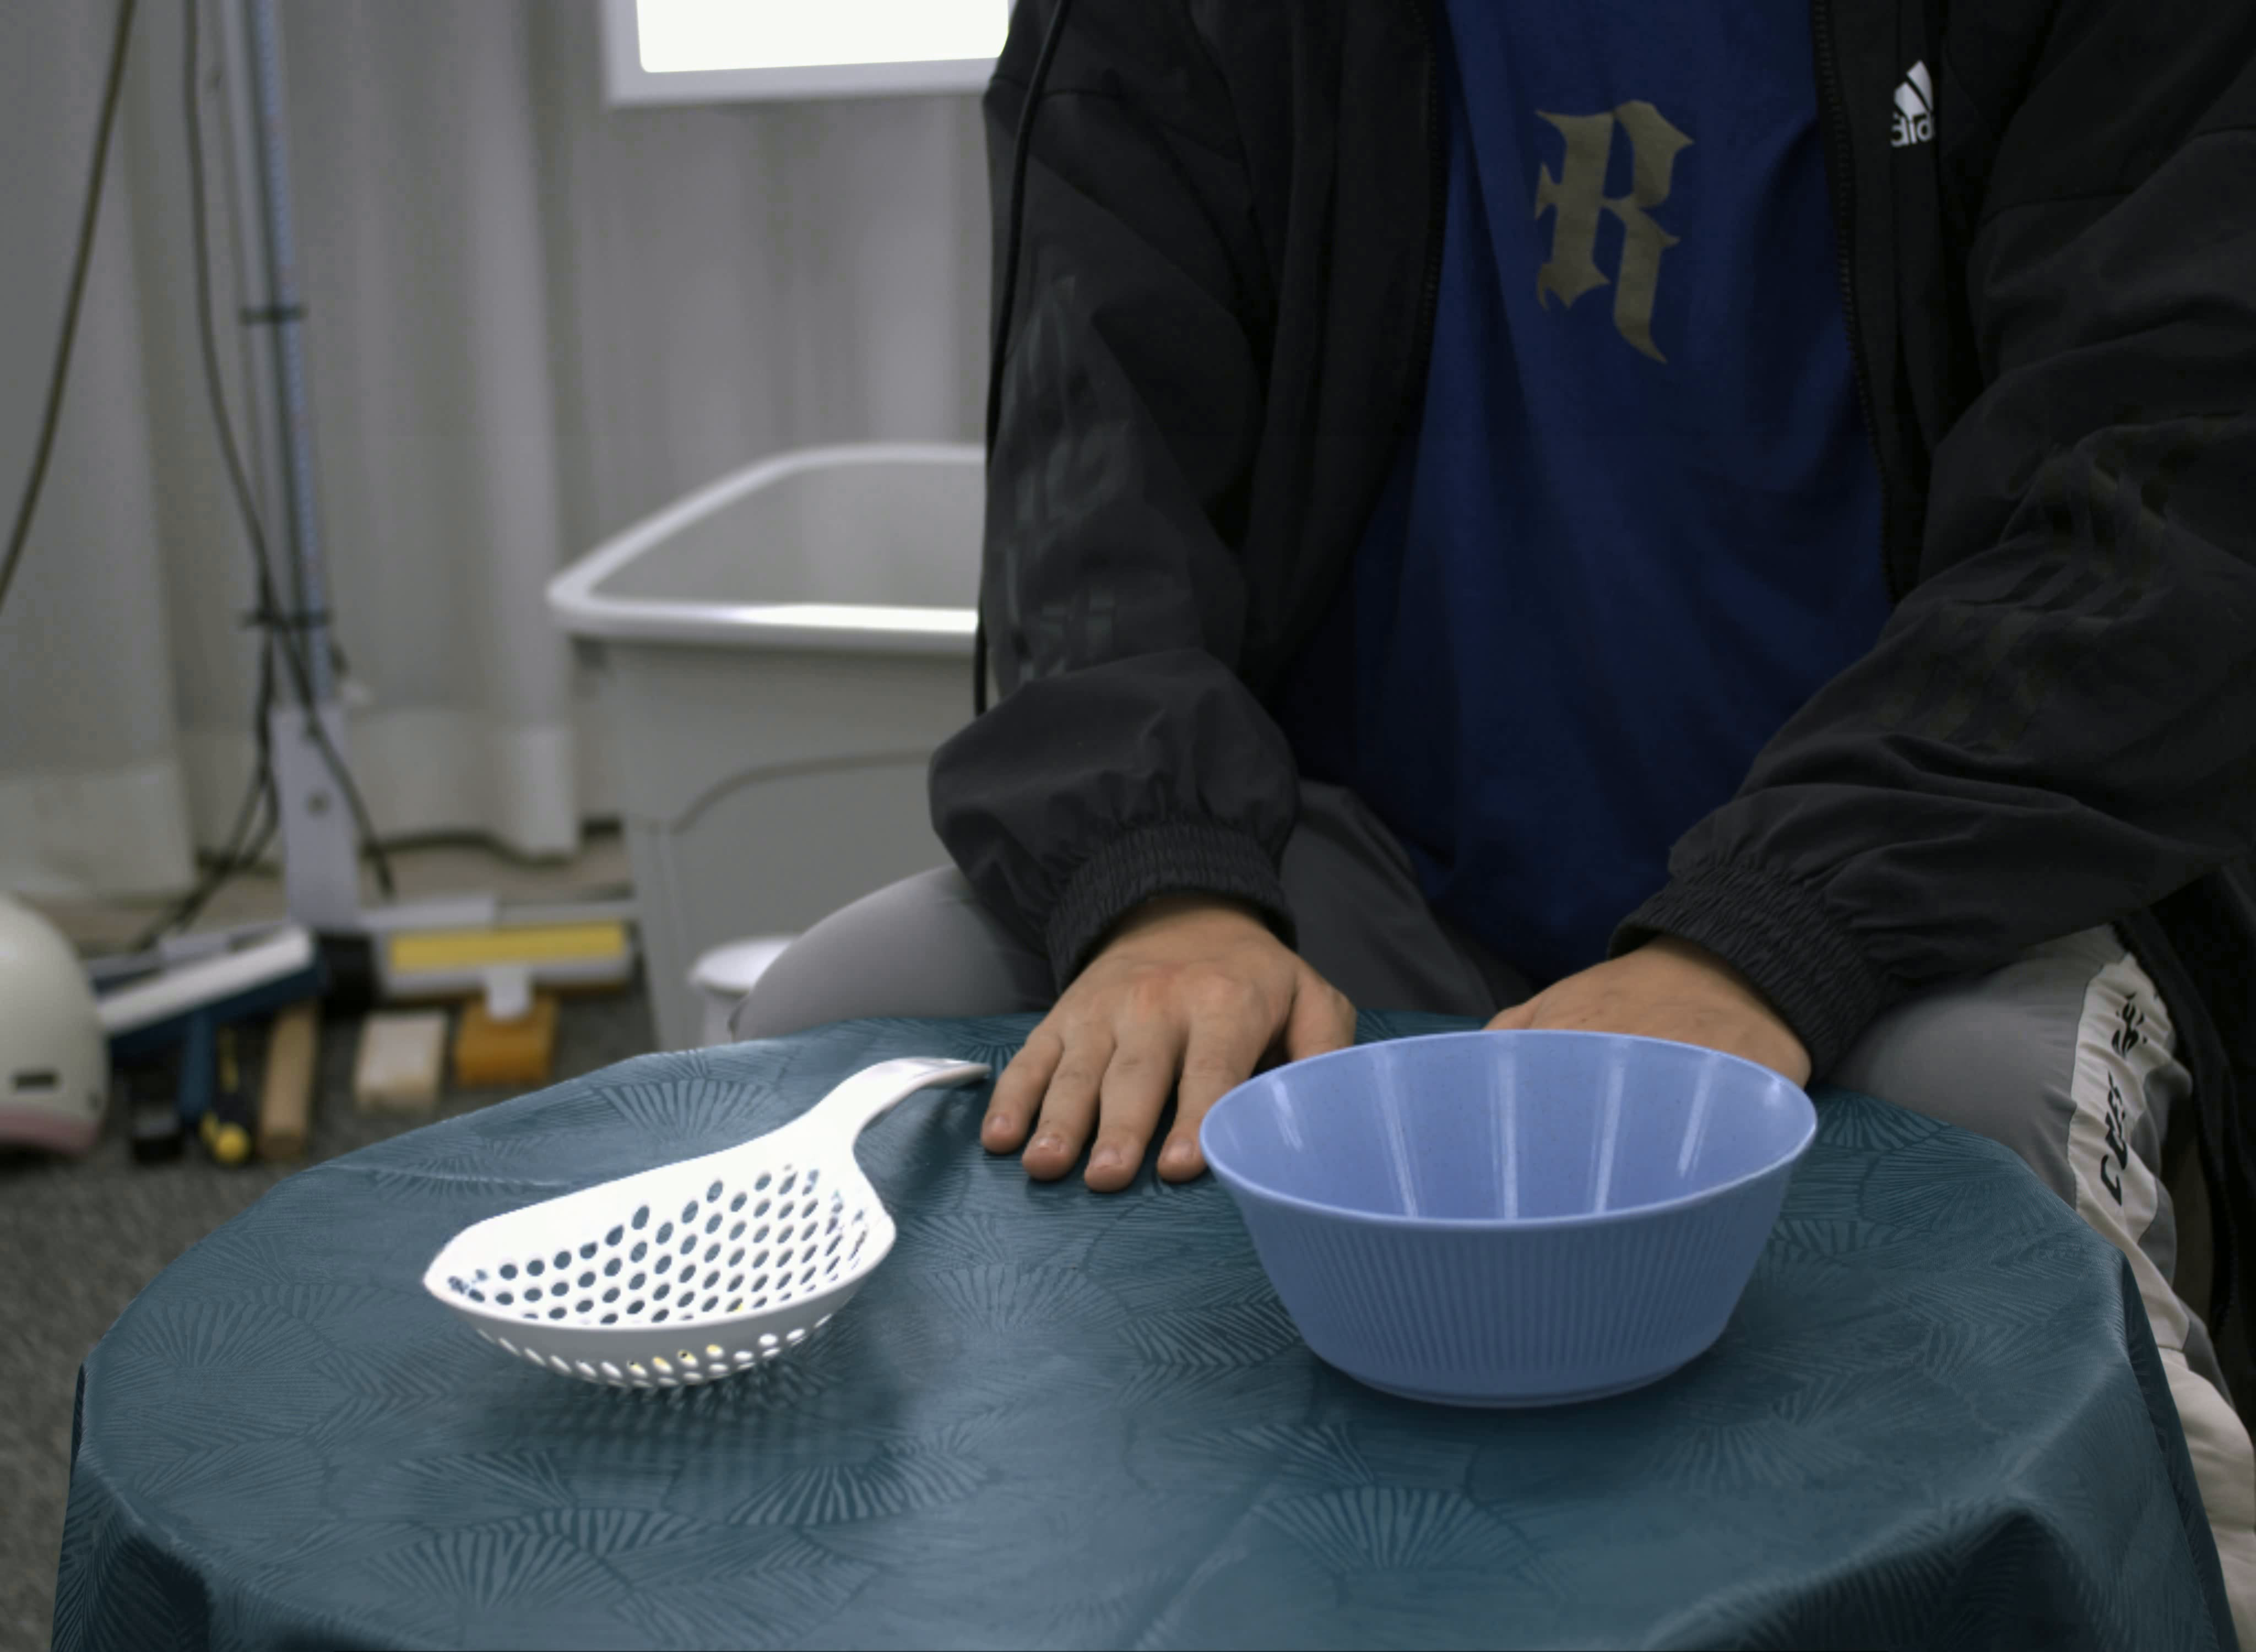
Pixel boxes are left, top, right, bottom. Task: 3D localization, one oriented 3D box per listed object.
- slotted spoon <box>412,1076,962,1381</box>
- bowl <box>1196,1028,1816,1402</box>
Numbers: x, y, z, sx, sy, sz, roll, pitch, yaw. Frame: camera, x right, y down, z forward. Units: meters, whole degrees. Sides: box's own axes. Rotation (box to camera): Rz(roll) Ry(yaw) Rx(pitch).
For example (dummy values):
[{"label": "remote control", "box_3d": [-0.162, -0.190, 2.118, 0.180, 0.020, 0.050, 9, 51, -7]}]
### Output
[{"label": "slotted spoon", "box_3d": [-0.102, 0.109, 1.670, 0.137, 0.050, 0.349, -2, 14, 17]}, {"label": "bowl", "box_3d": [0.108, 0.113, 1.557, 0.175, 0.070, 0.177, -2, 15, 0]}]
